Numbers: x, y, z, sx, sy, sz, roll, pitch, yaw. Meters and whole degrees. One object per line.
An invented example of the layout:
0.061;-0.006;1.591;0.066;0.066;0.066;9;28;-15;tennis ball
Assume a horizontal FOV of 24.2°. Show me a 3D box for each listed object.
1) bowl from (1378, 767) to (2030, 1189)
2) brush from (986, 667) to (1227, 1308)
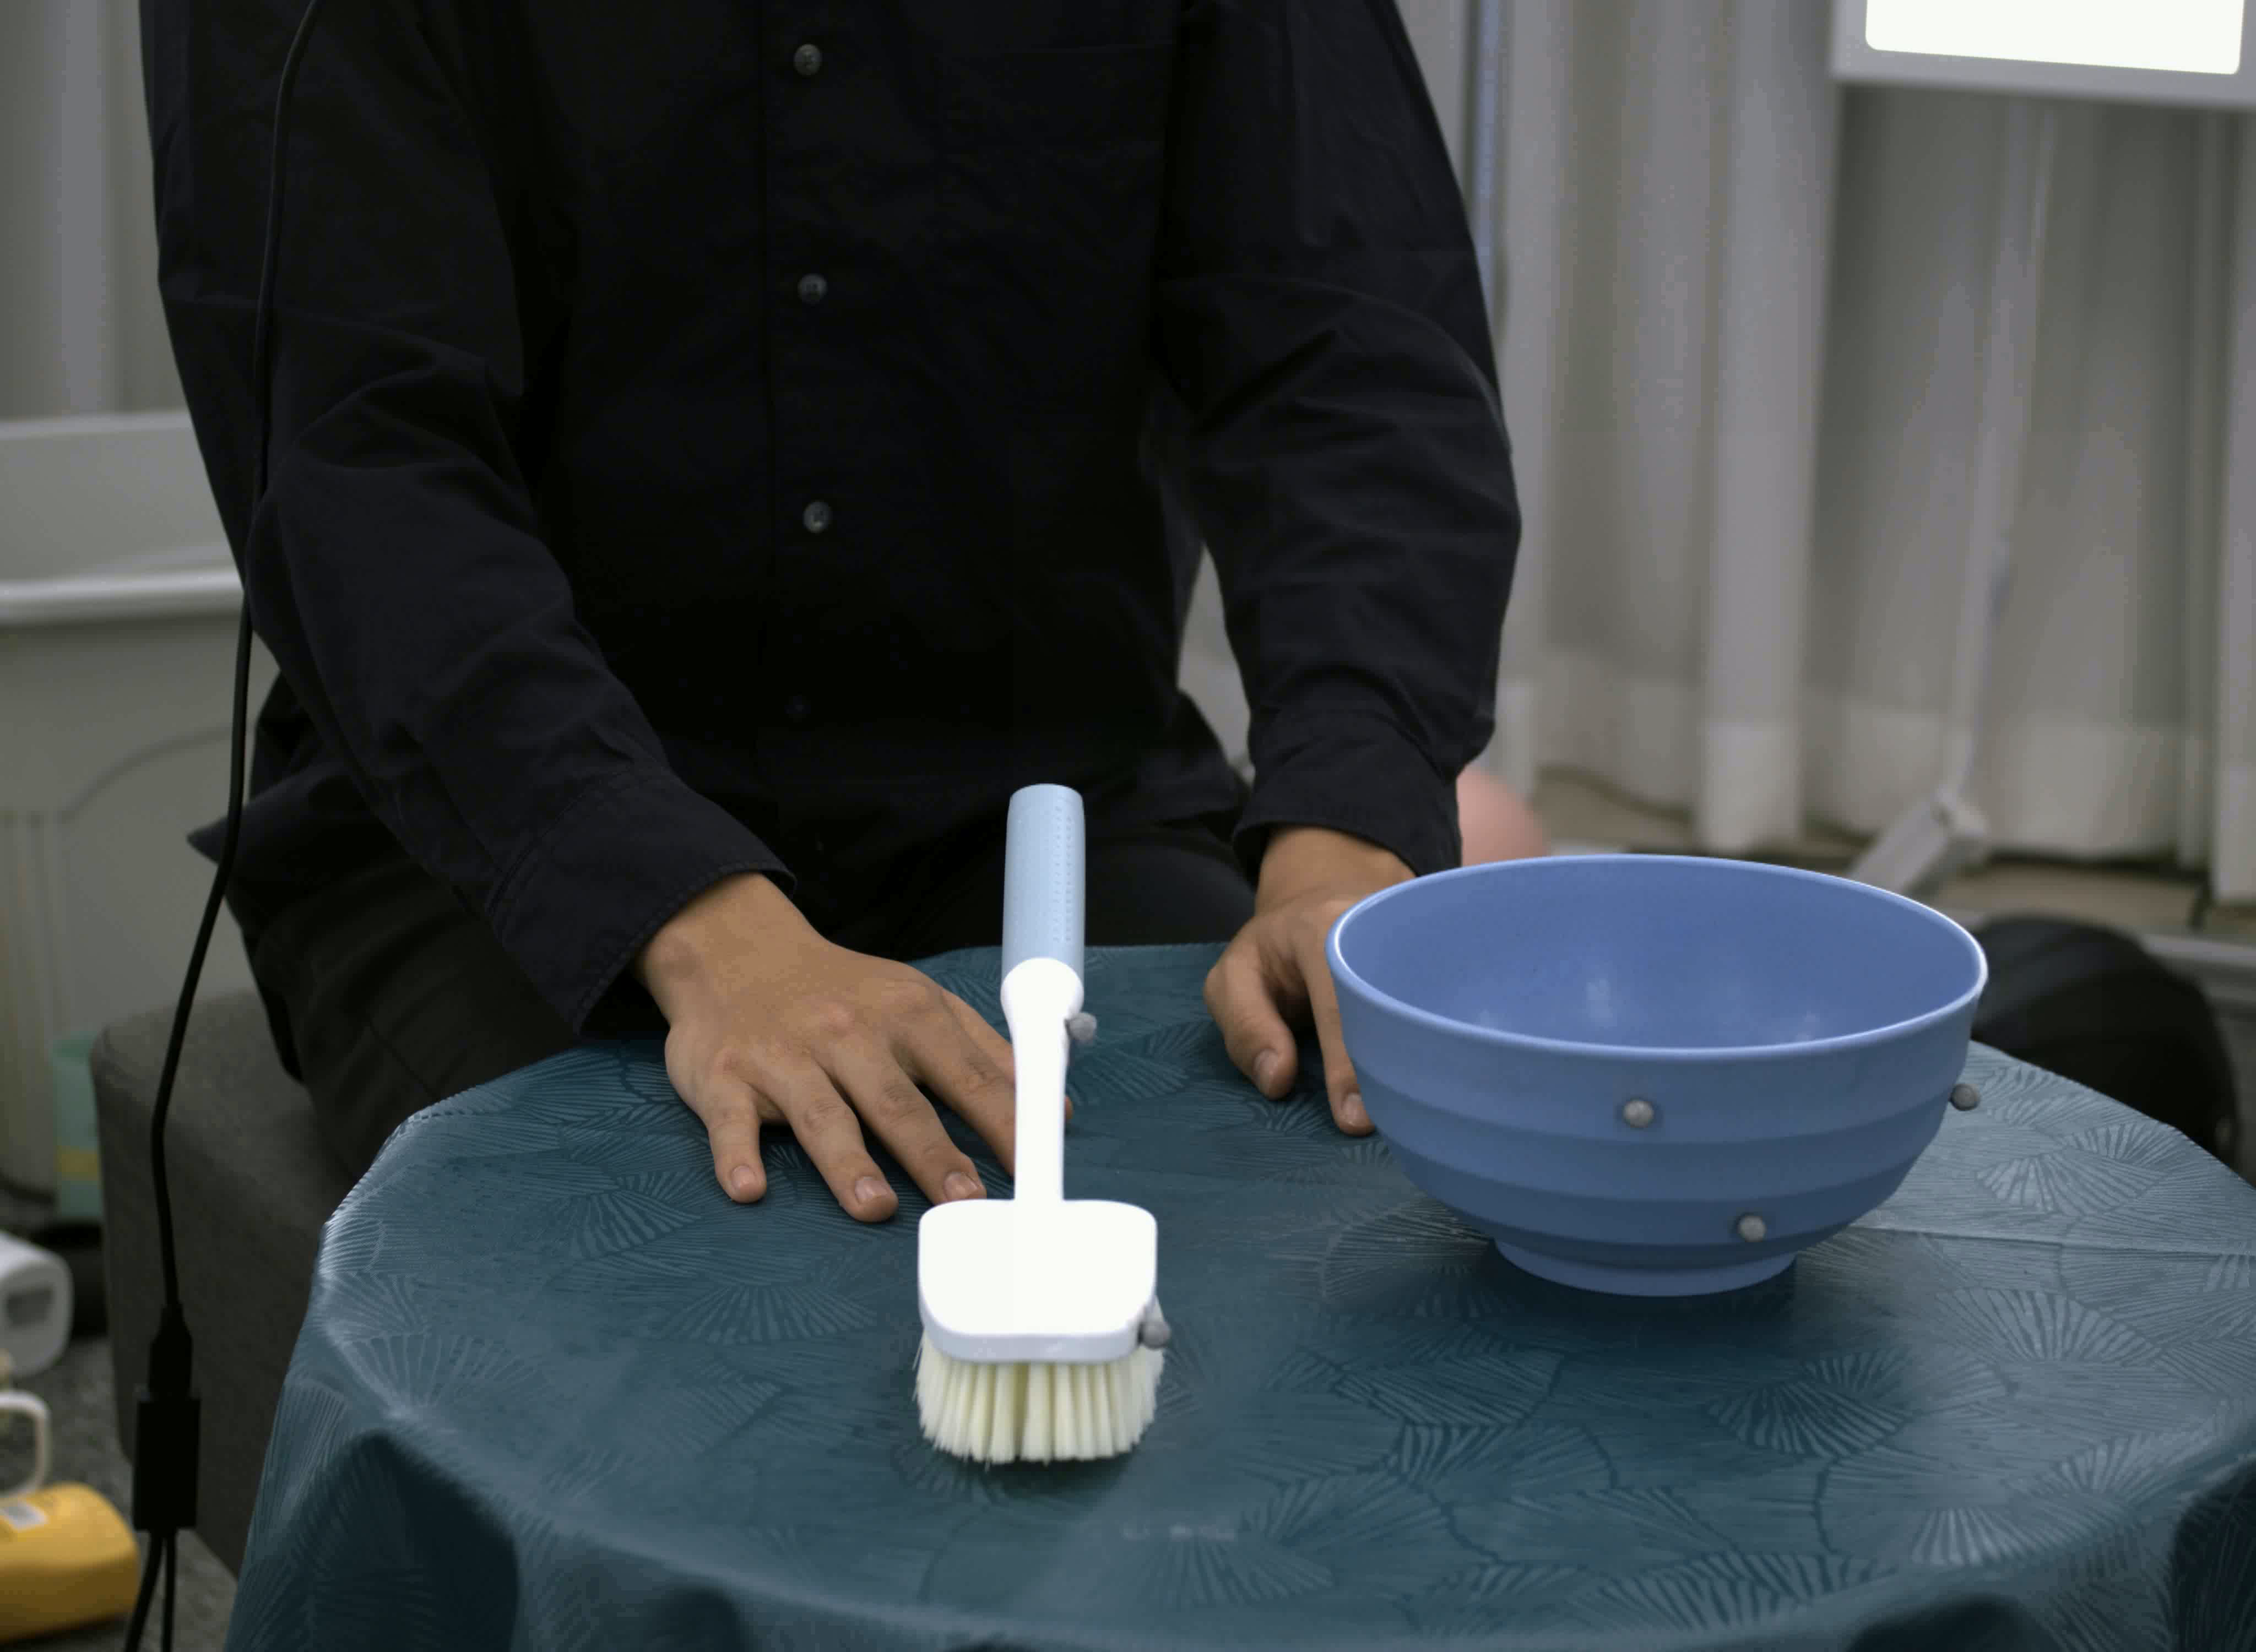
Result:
0.174;0.051;1.603;0.196;0.096;0.195;0;15;1;bowl
-0.002;0.060;1.573;0.083;0.084;0.323;35;22;-16;brush
